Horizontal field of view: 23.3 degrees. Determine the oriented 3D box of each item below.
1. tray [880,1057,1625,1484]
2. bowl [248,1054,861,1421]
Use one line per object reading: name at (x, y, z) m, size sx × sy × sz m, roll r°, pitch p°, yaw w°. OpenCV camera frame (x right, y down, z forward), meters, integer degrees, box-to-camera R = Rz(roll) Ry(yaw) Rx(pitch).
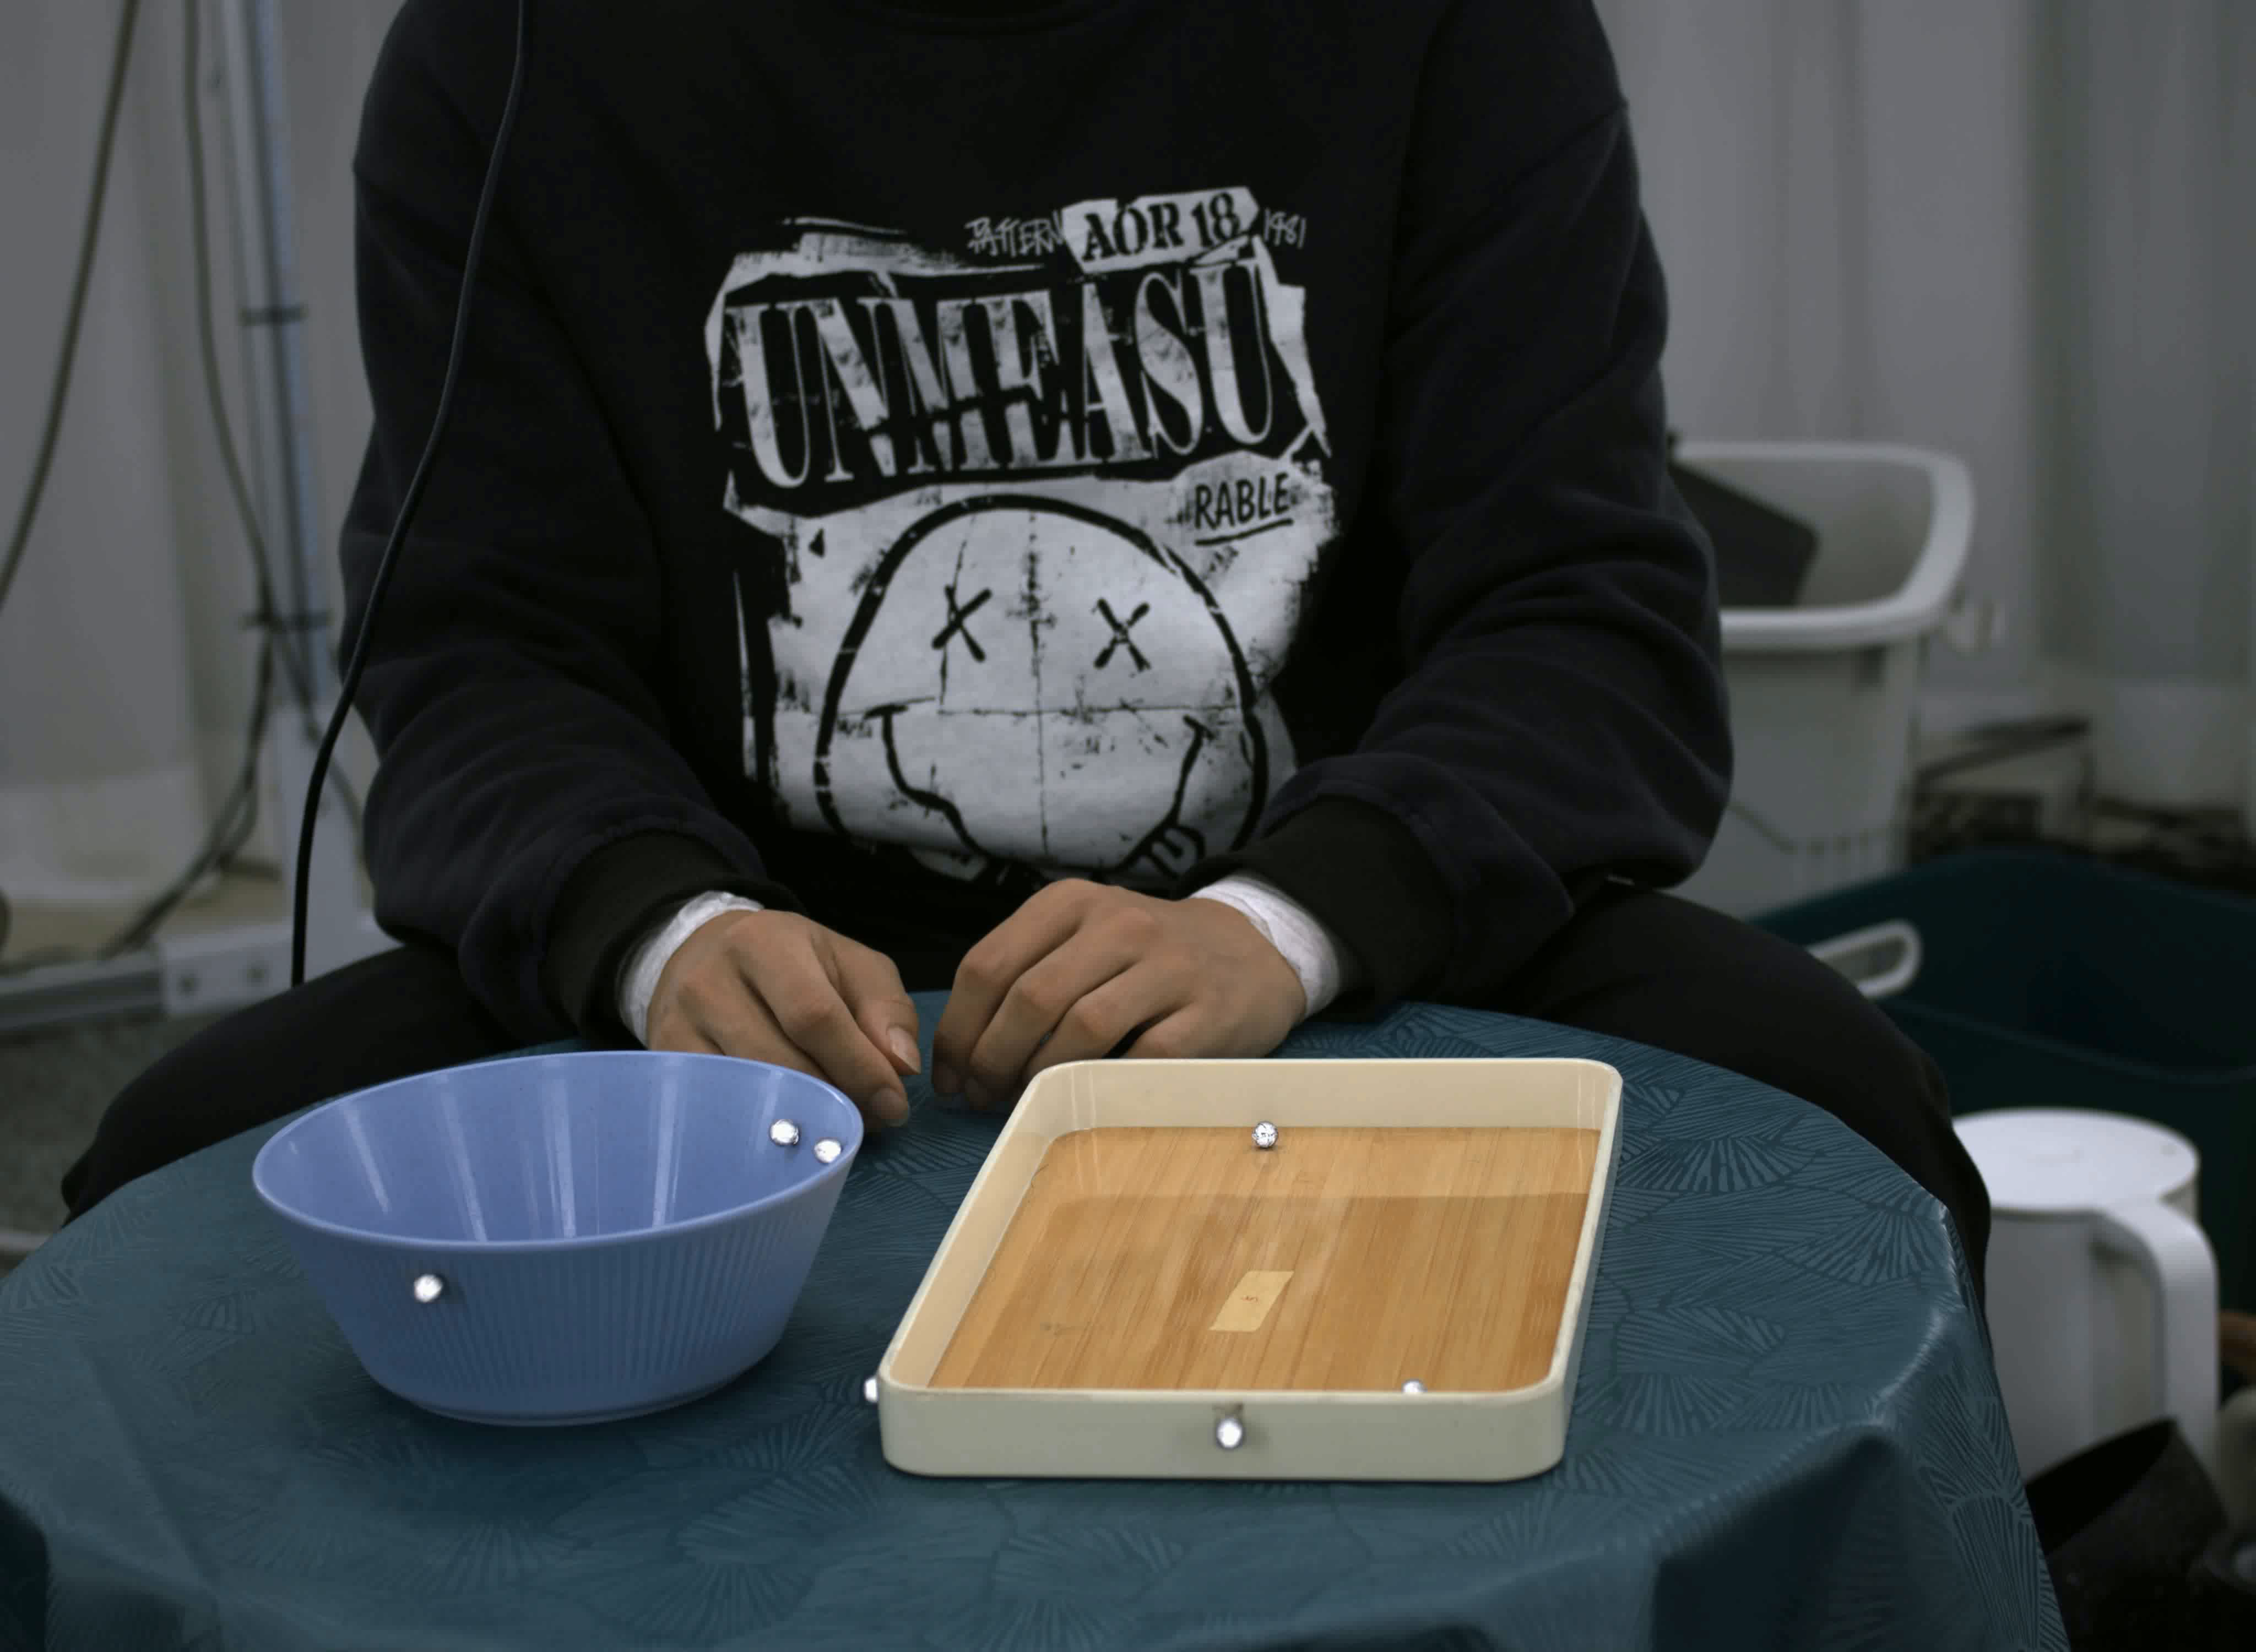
tray at (0.045, 0.127, 1.611) m, size 0.191 × 0.027 × 0.302 m, roll -1°, pitch 15°, yaw 9°
bowl at (-0.164, 0.121, 1.582) m, size 0.175 × 0.070 × 0.177 m, roll -2°, pitch 15°, yaw 0°
